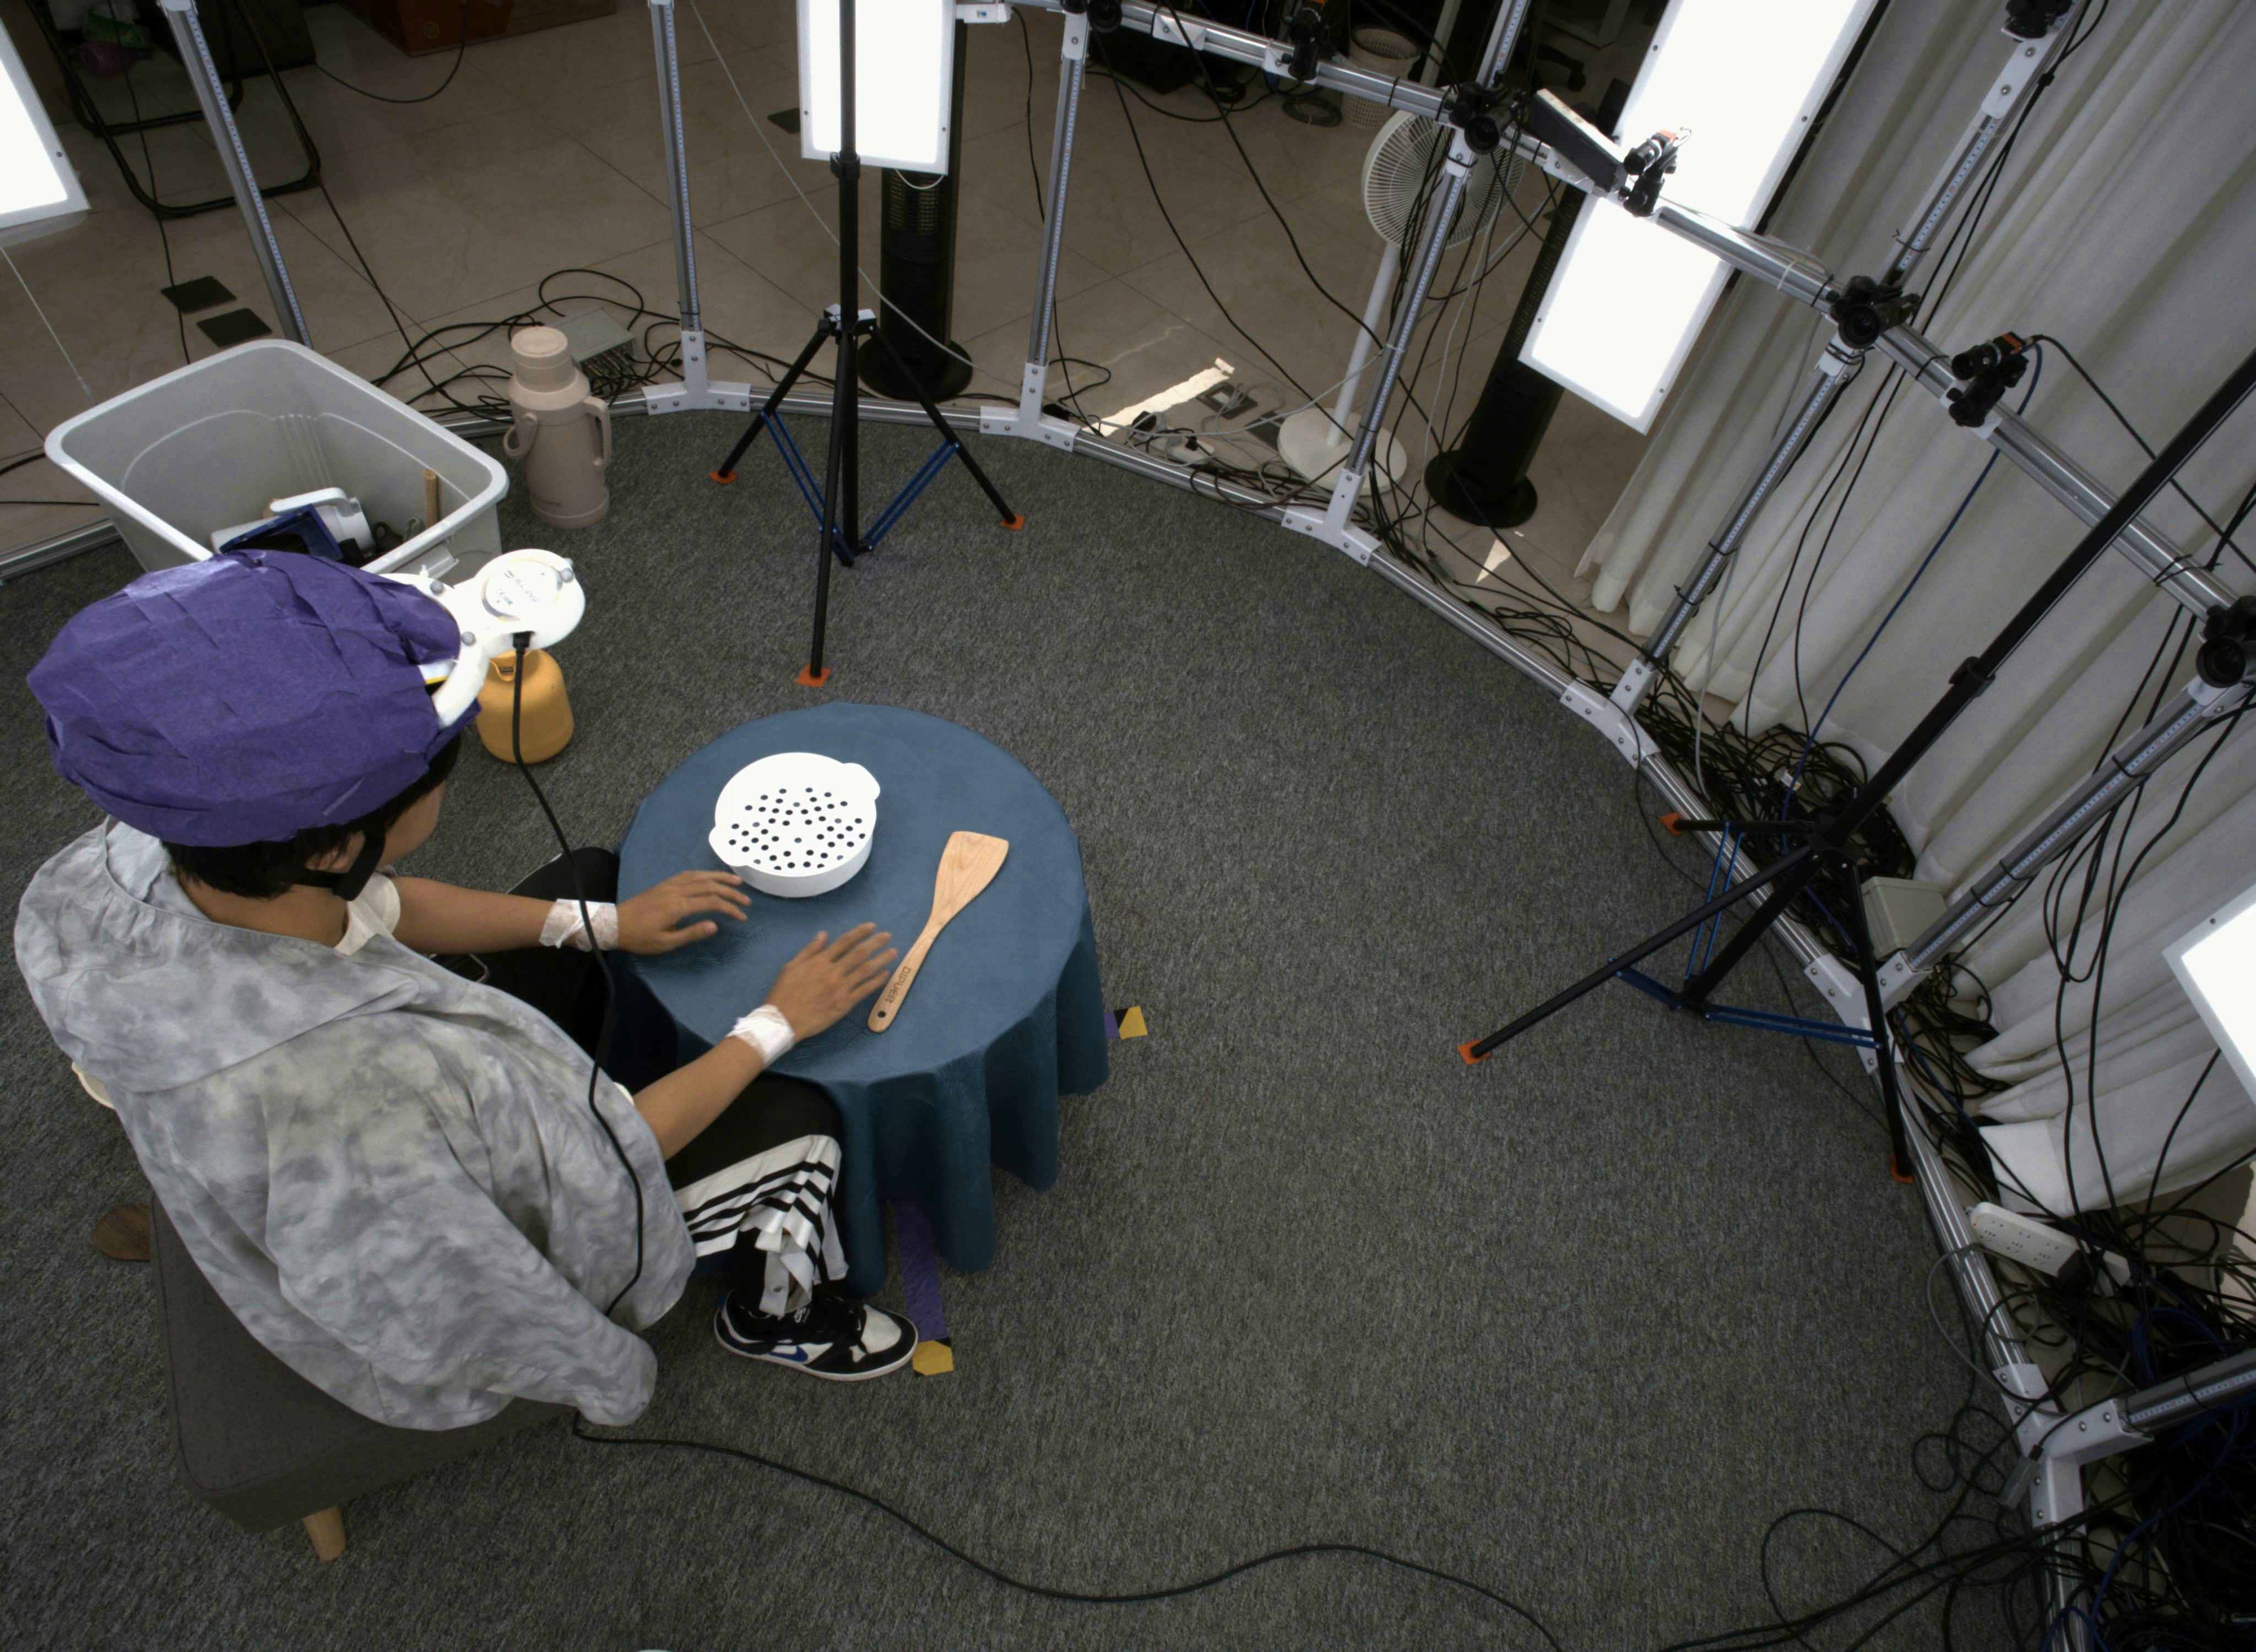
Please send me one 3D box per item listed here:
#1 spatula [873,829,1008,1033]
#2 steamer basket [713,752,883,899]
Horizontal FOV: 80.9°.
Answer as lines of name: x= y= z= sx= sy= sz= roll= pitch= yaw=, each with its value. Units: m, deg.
spatula: x=-0.248 y=0.126 z=1.665 sx=0.079 sy=0.017 sz=0.325 roll=22 pitch=52 yaw=4
steamer basket: x=-0.425 y=-0.001 z=1.685 sx=0.231 sy=0.071 sz=0.197 roll=-31 pitch=64 yaw=-29
